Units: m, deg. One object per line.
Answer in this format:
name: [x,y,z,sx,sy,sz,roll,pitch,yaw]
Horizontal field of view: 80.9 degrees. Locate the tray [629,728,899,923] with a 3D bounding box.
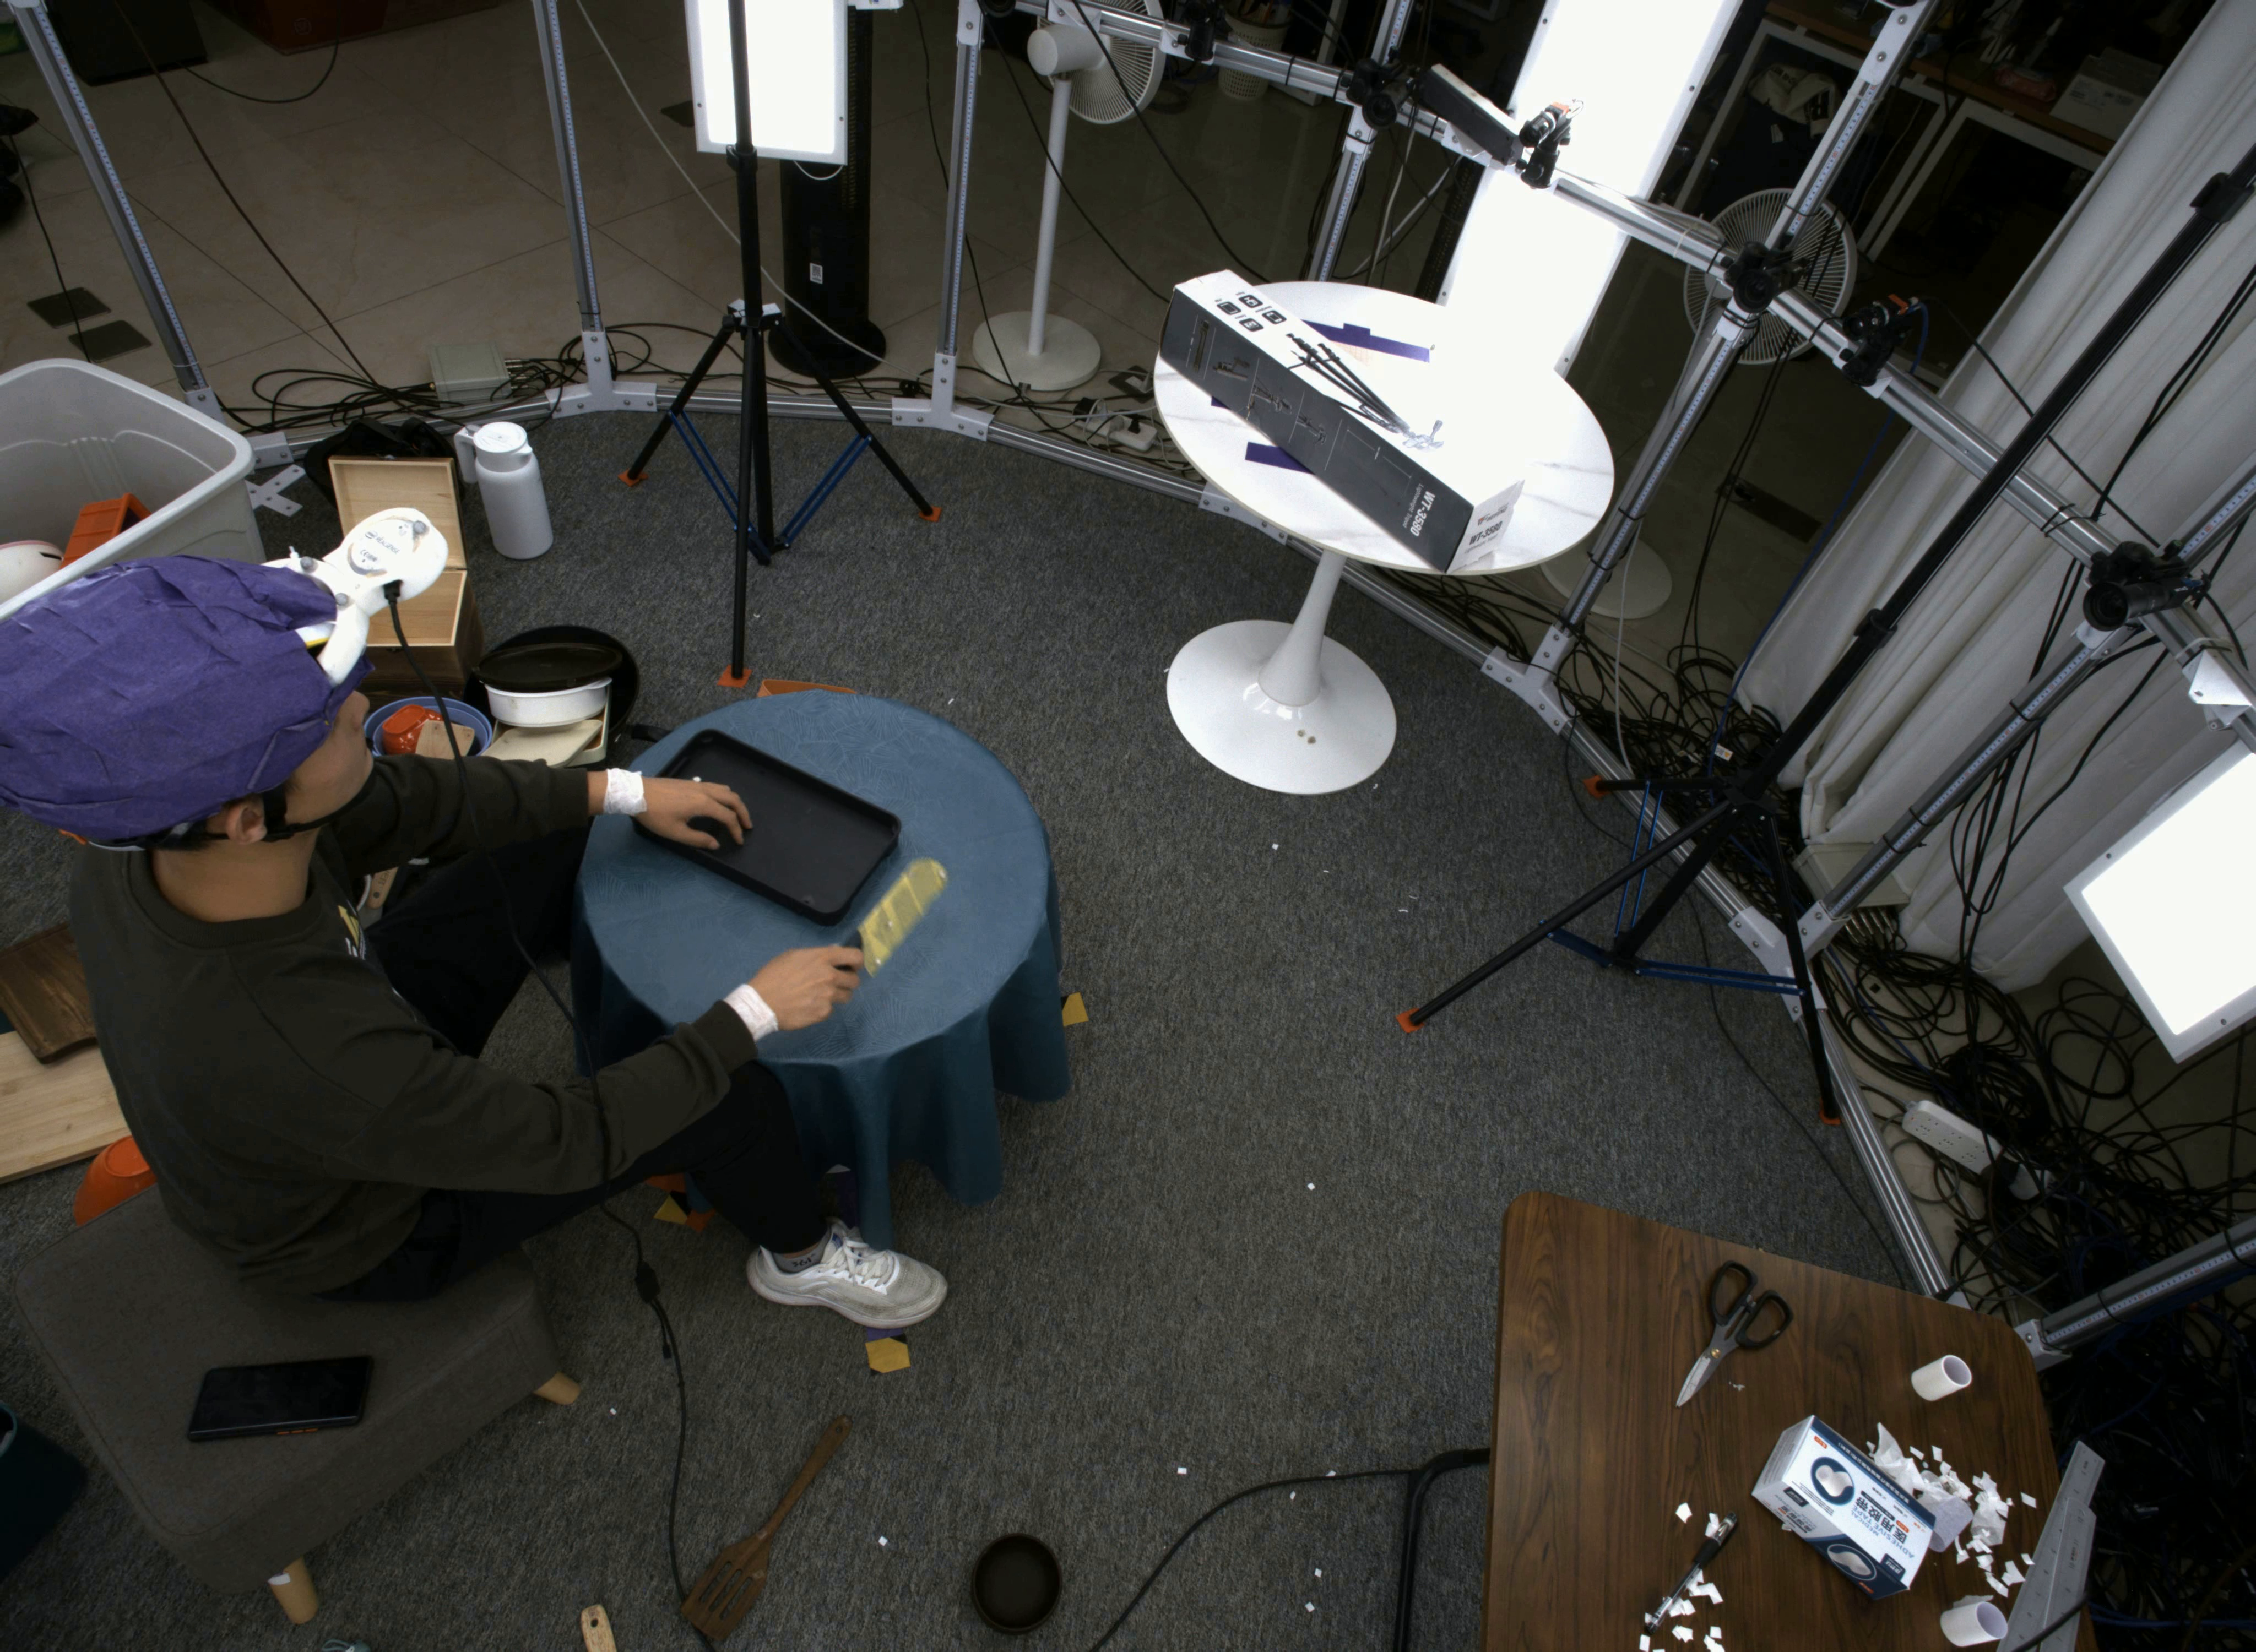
tray: [-0.477,-0.005,1.702,0.314,0.038,0.183,24,52,4]

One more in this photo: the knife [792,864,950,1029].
knife: [-0.305,0.146,1.584,0.026,0.084,0.289,12,45,34]
